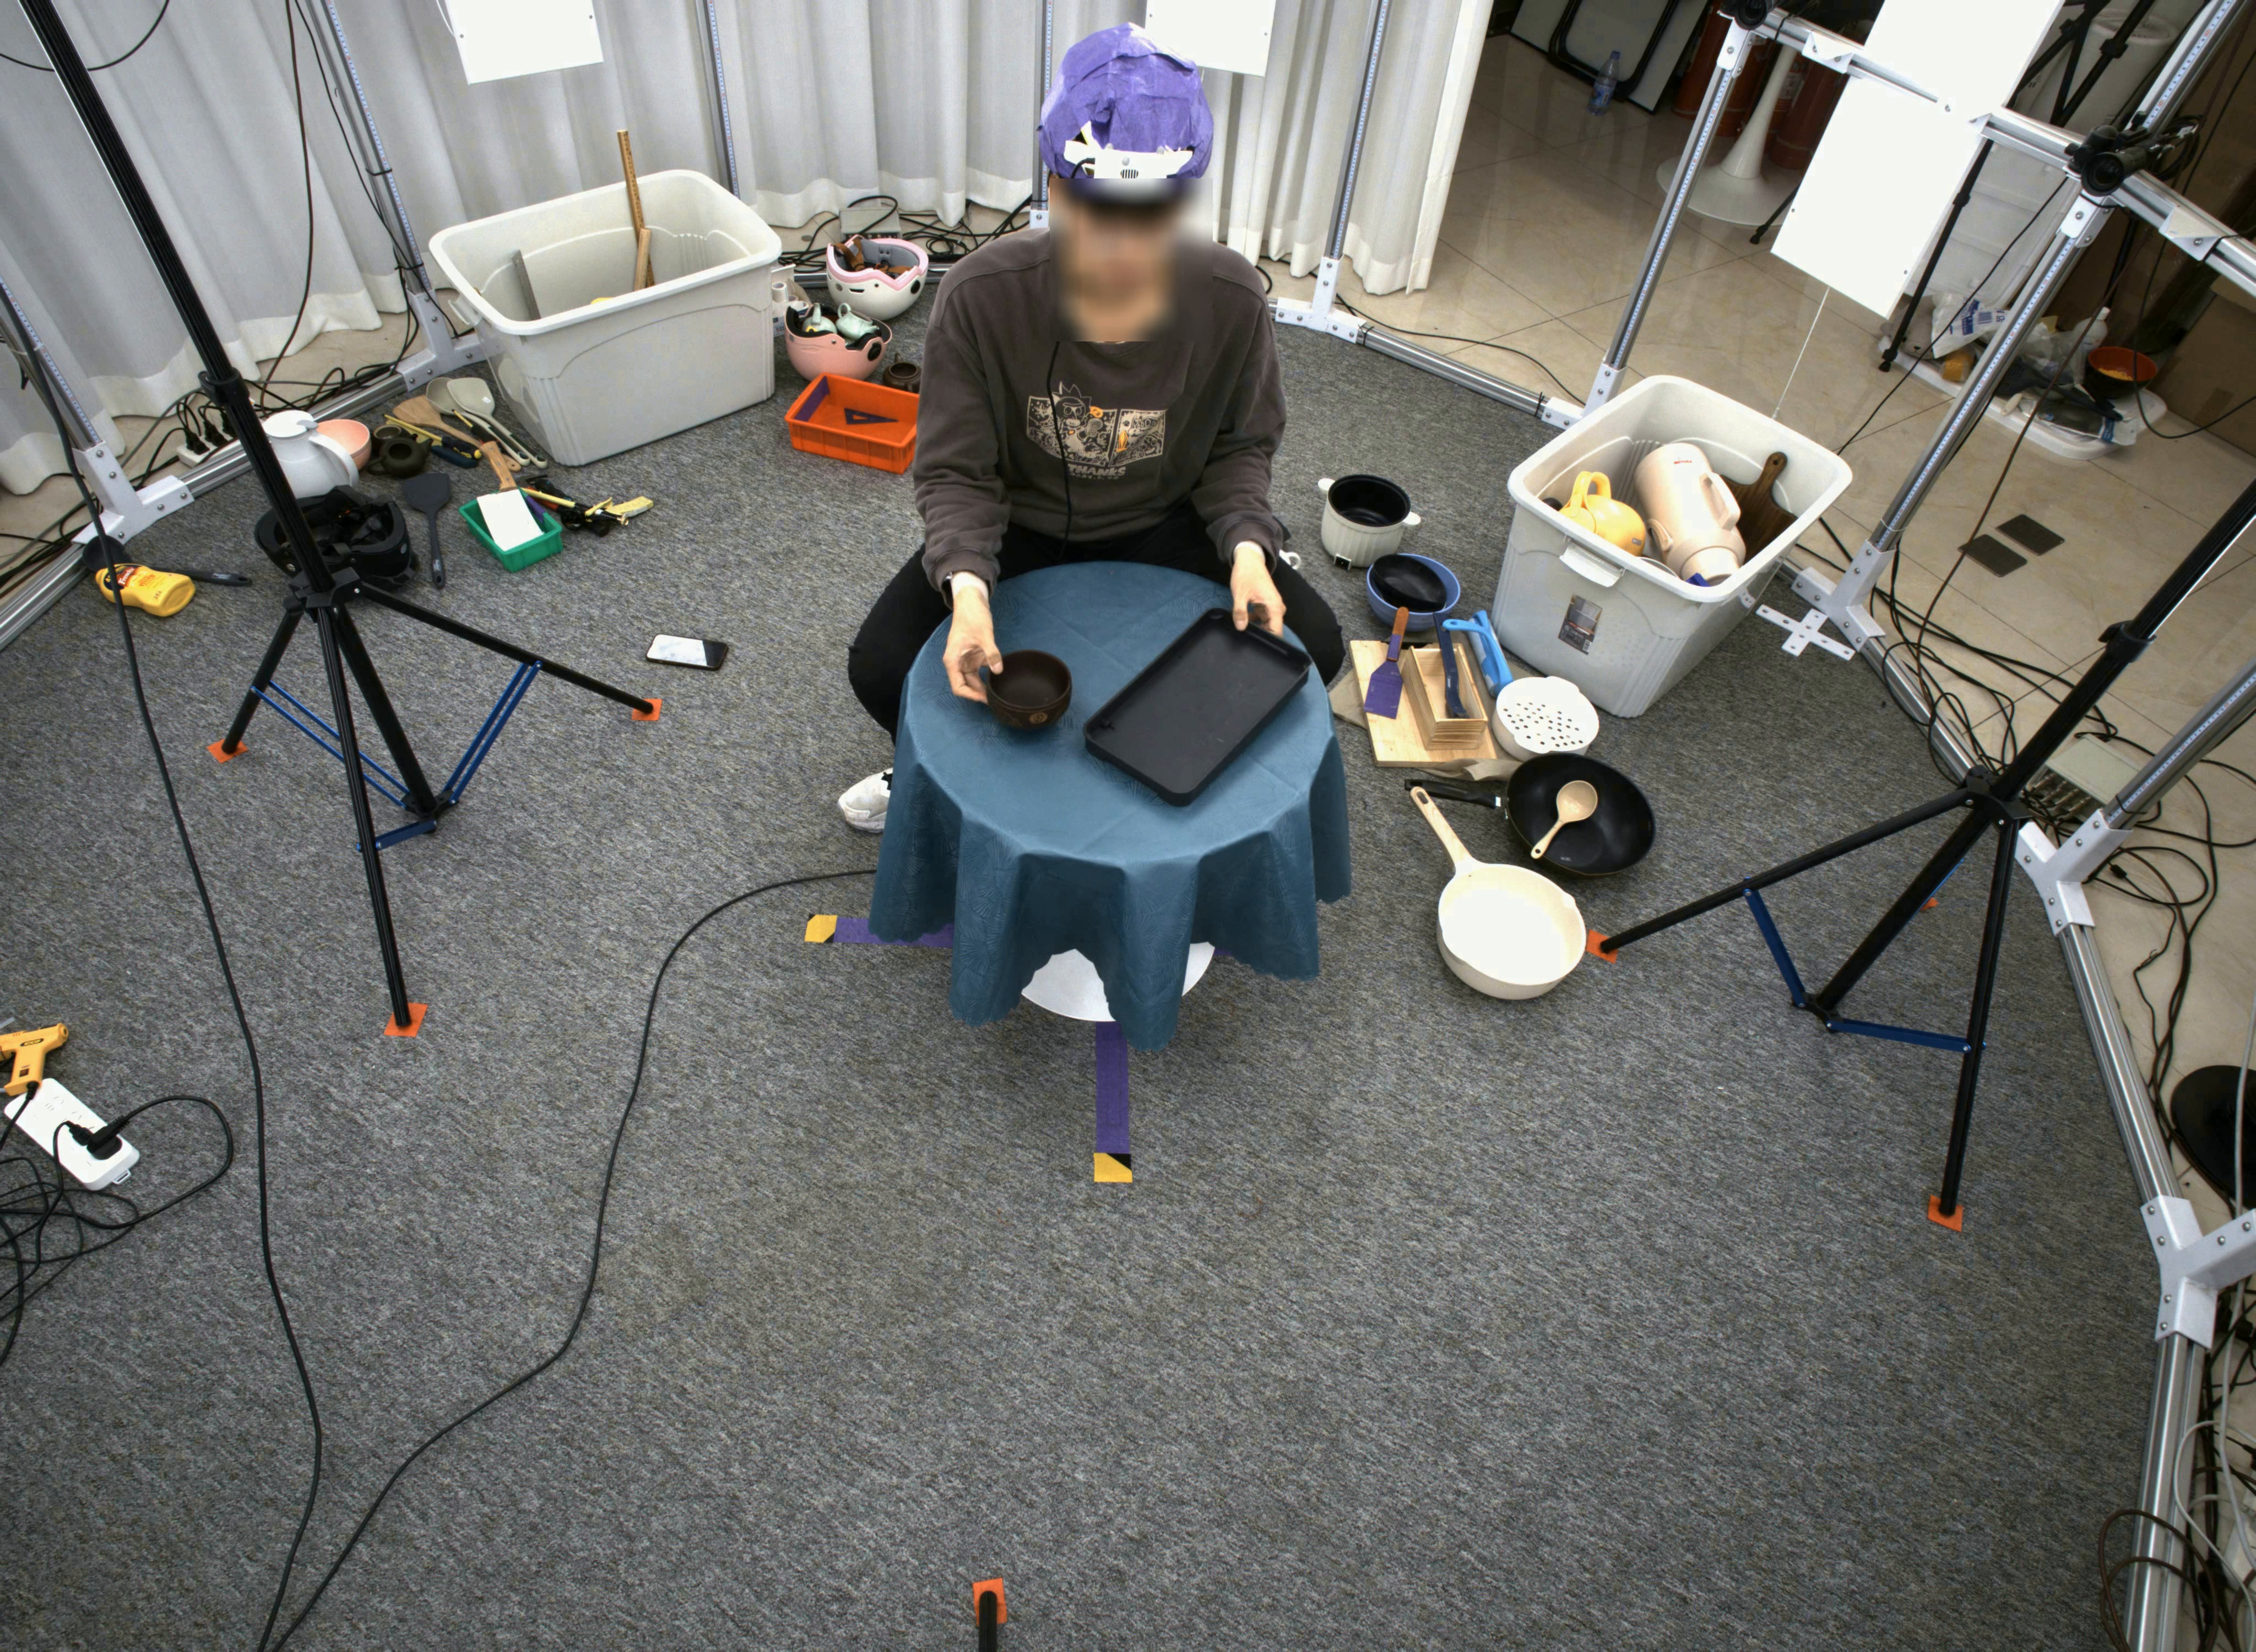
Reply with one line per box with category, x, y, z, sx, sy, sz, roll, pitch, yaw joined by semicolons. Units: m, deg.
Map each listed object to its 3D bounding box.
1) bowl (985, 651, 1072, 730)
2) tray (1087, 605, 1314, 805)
bowl;-0.136;-0.177;1.758;0.118;0.068;0.121;2;46;-2
tray;0.104;-0.174;1.785;0.186;0.036;0.322;31;59;22
